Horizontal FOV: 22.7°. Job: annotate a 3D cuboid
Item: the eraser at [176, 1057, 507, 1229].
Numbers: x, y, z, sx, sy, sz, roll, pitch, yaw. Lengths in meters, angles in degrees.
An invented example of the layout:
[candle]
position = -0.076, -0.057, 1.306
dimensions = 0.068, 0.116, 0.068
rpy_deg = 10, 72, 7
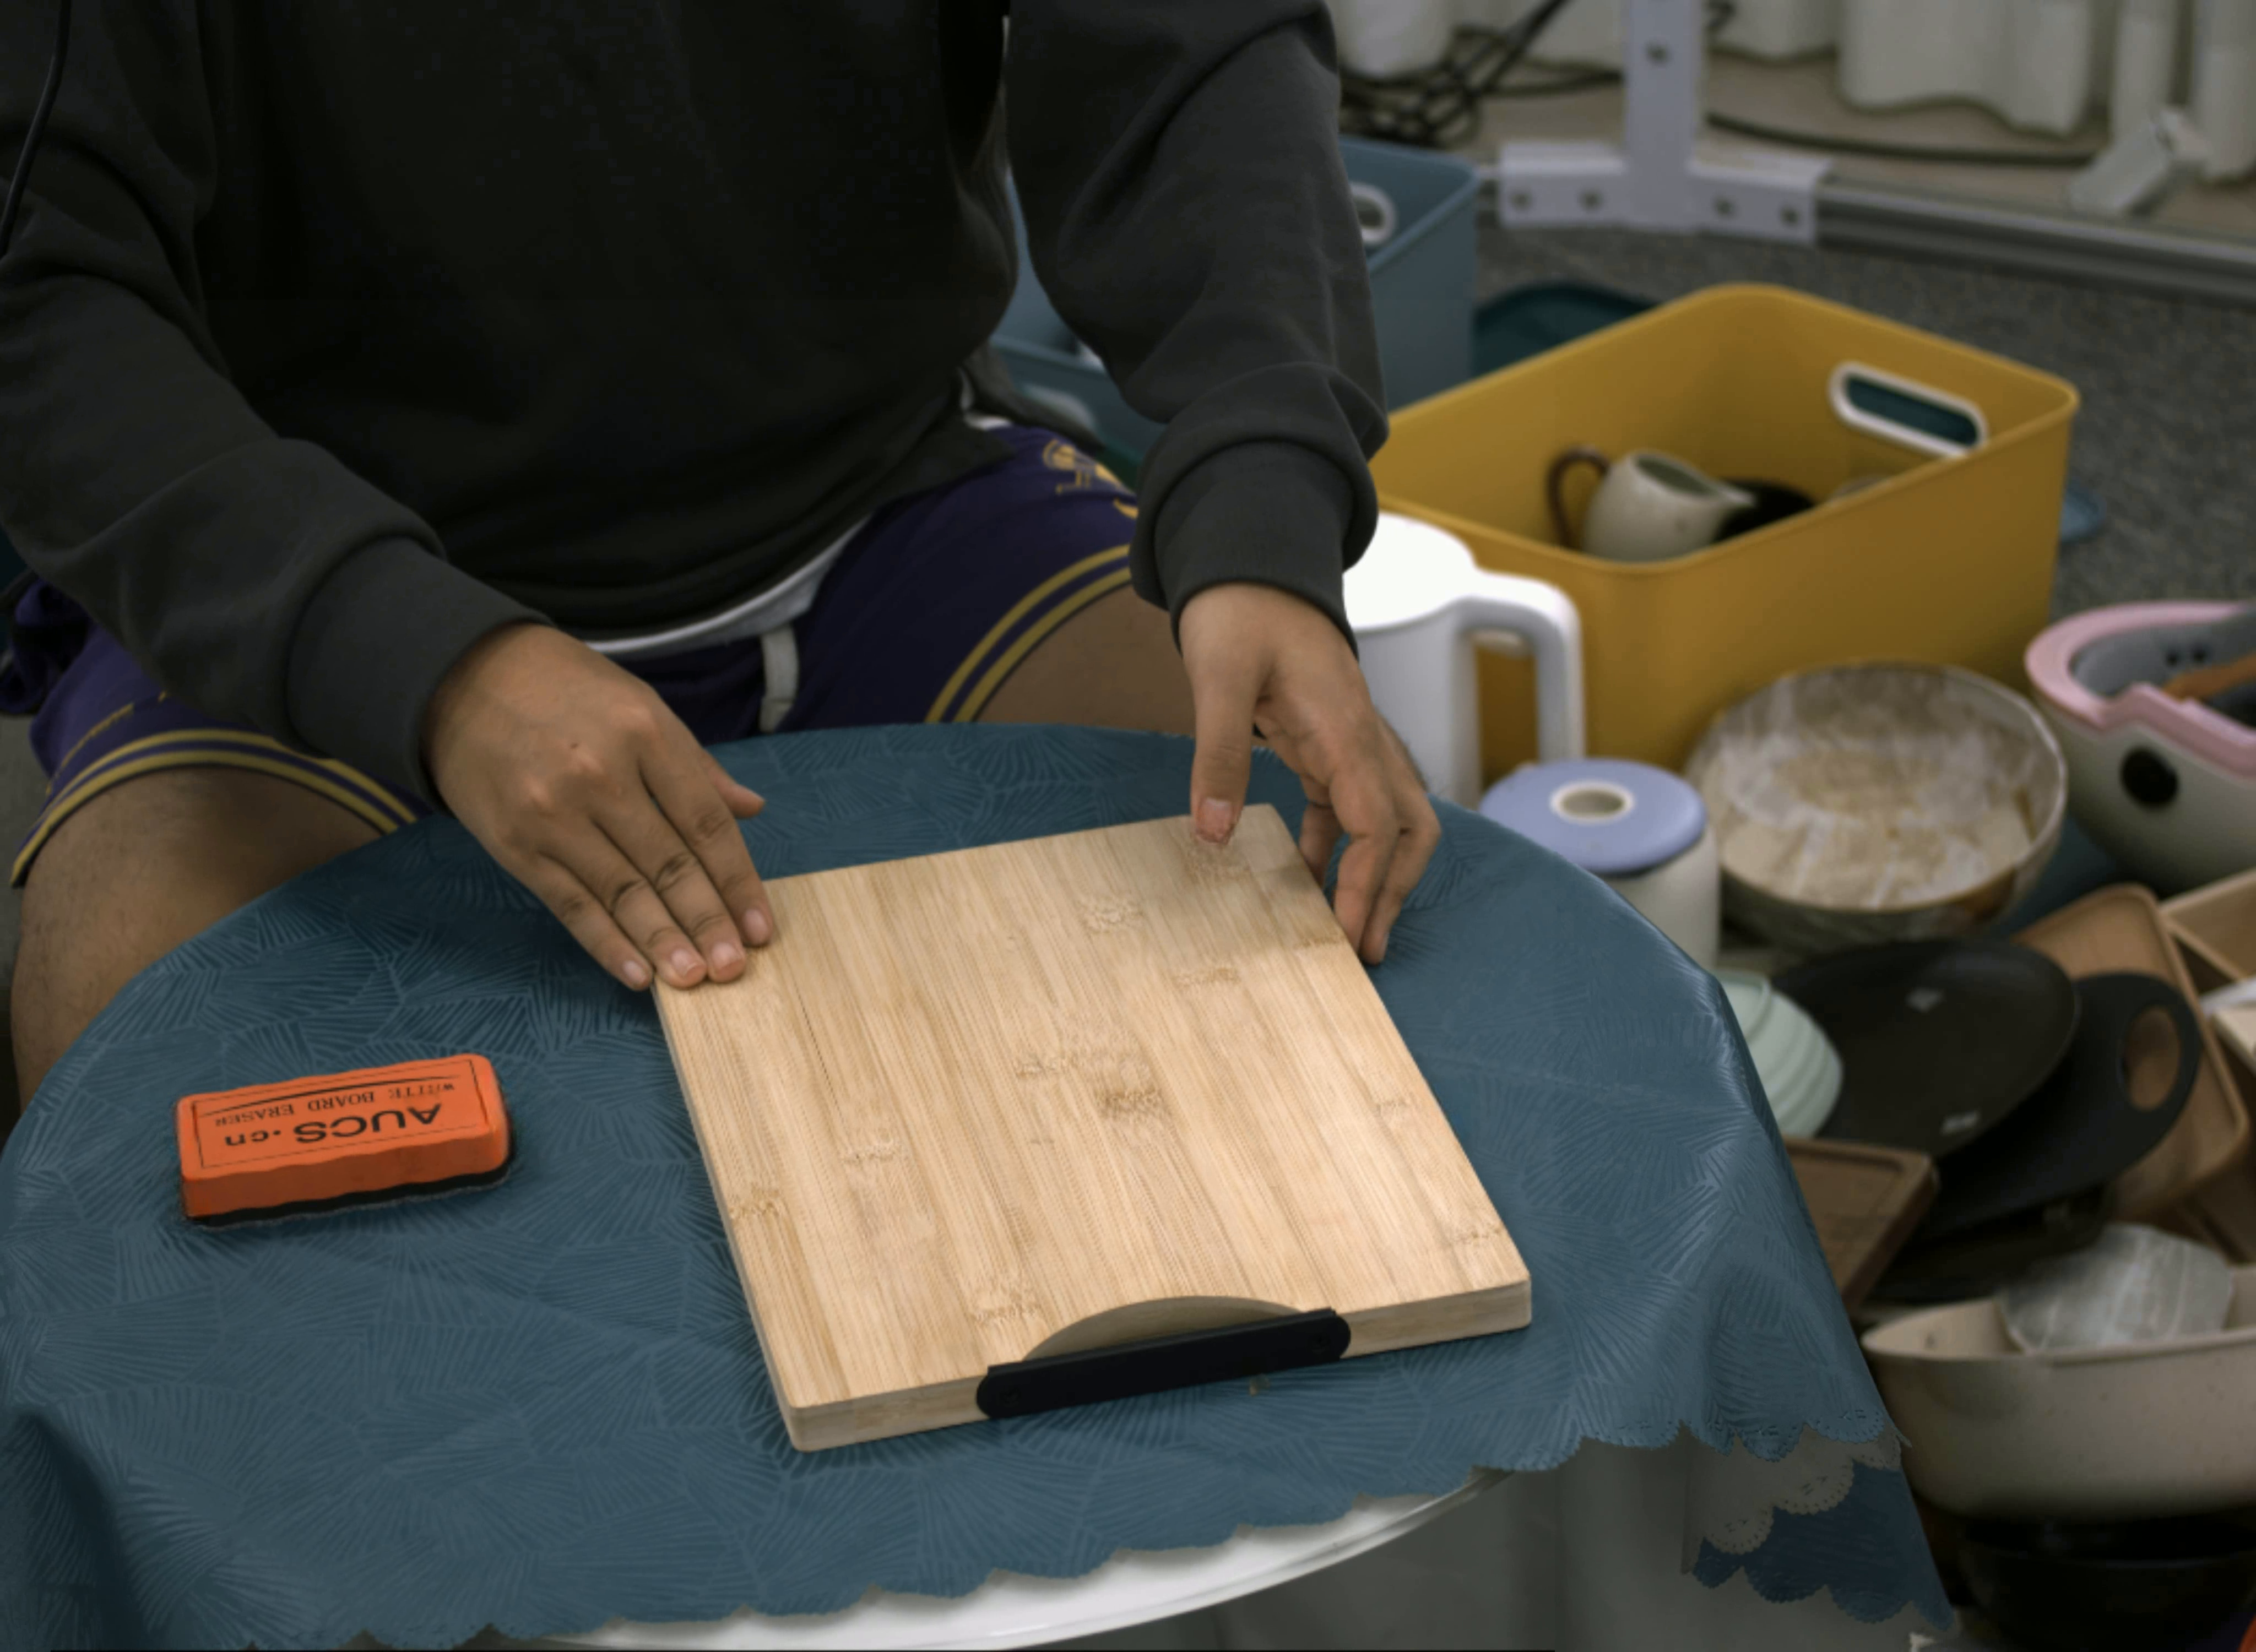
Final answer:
[eraser]
position = -0.265, 0.107, 1.891
dimensions = 0.108, 0.022, 0.059
rpy_deg = -7, 28, -10

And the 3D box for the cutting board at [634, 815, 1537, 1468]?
[cutting board]
position = -0.024, 0.097, 1.895
dimensions = 0.250, 0.023, 0.352
rpy_deg = -9, 28, -11
